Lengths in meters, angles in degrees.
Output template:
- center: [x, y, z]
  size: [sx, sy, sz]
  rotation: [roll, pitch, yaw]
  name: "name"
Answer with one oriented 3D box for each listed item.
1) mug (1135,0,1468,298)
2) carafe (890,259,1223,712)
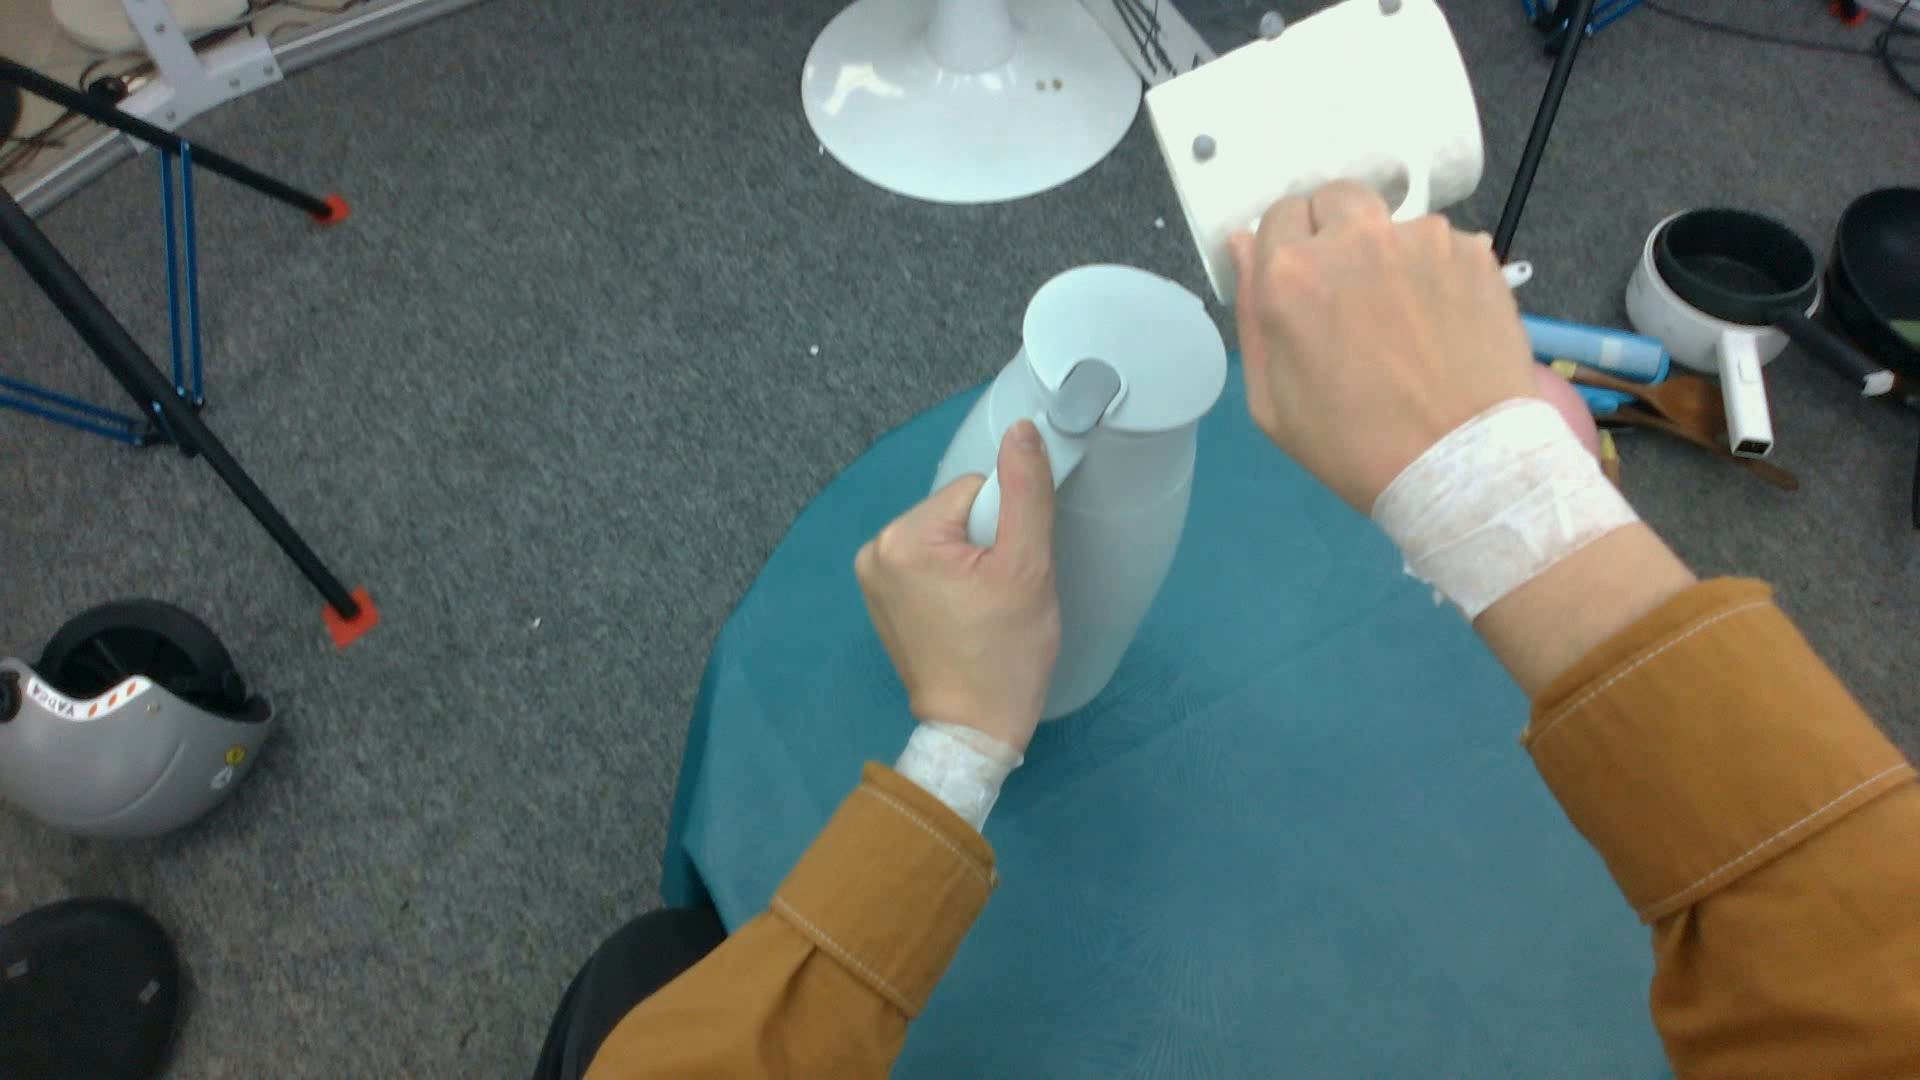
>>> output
- center: [0.132, -0.142, 0.518]
  size: [0.102, 0.085, 0.119]
  rotation: [-22, 42, 11]
  name: "mug"
- center: [0.039, -0.013, 0.680]
  size: [0.132, 0.247, 0.168]
  rotation: [35, 57, 10]
  name: "carafe"
